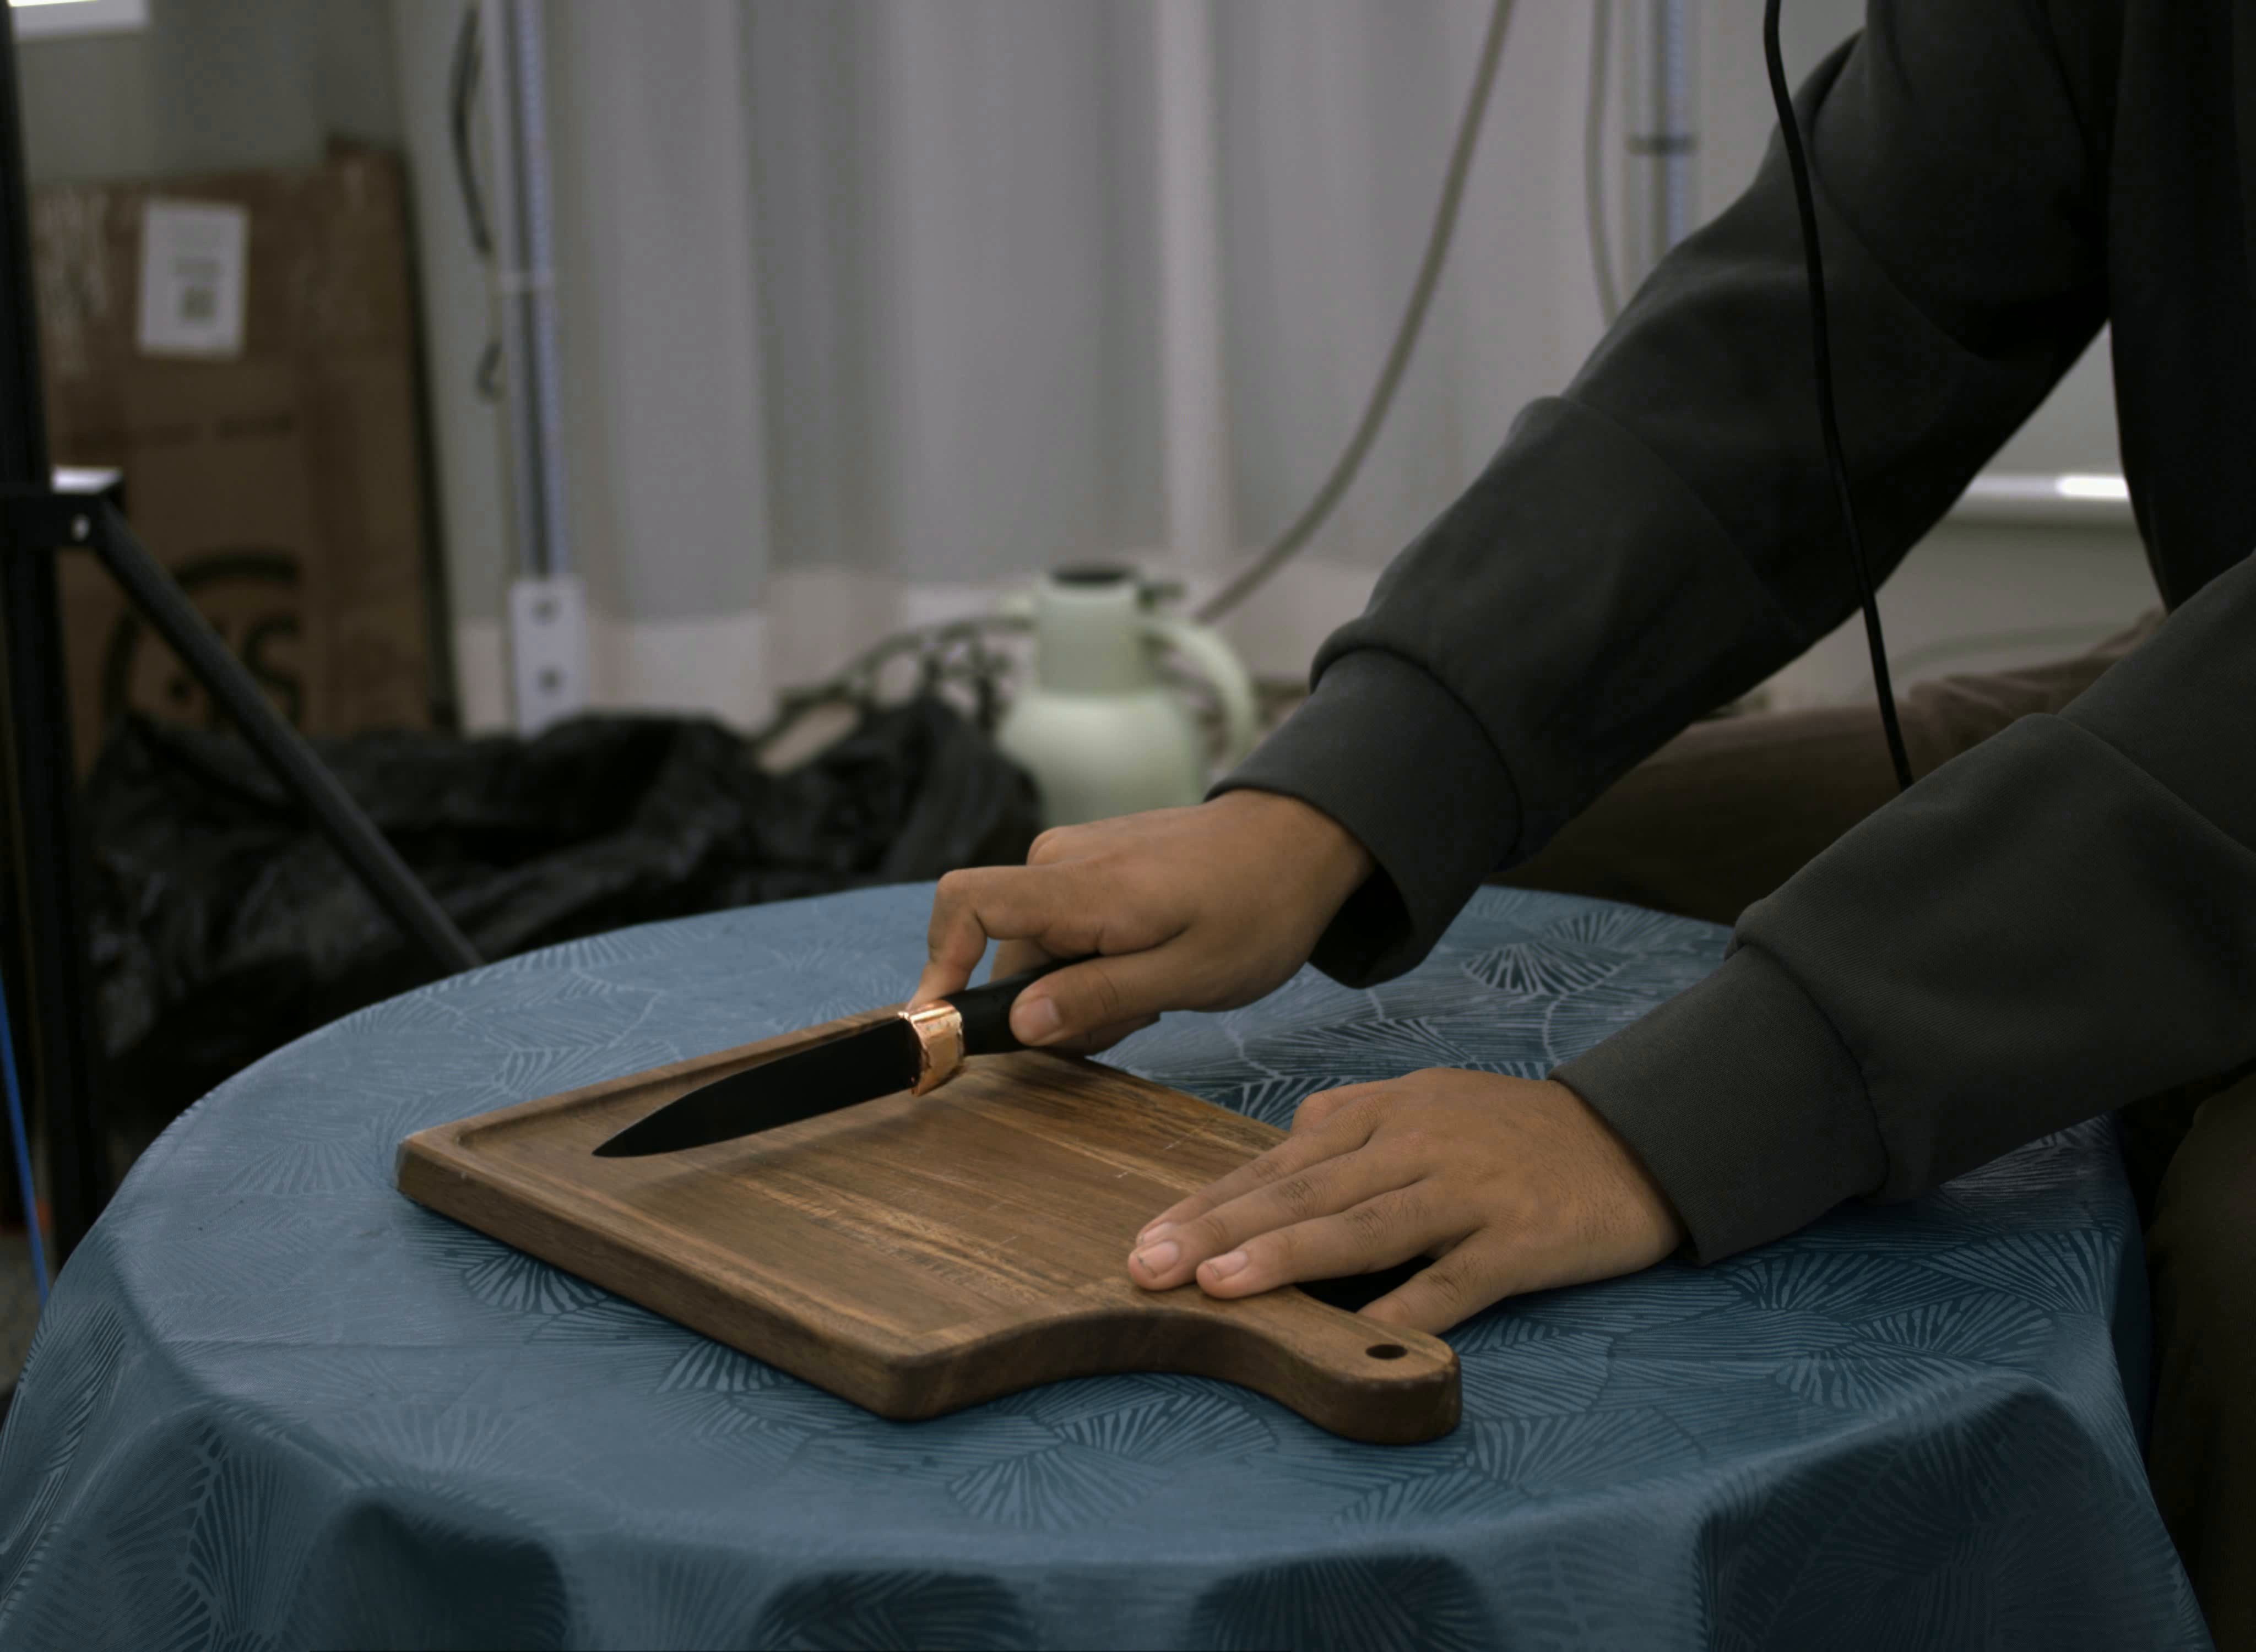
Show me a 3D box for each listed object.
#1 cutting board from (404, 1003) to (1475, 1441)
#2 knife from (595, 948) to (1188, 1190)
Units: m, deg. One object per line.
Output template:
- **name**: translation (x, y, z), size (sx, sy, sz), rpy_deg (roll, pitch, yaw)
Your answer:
- **cutting board**: translation (-0.030, 0.115, 1.496), size (0.196, 0.023, 0.360), rpy_deg (-15, 20, -36)
- **knife**: translation (-0.068, 0.072, 1.589), size (0.220, 0.026, 0.017), rpy_deg (-17, 12, -36)
